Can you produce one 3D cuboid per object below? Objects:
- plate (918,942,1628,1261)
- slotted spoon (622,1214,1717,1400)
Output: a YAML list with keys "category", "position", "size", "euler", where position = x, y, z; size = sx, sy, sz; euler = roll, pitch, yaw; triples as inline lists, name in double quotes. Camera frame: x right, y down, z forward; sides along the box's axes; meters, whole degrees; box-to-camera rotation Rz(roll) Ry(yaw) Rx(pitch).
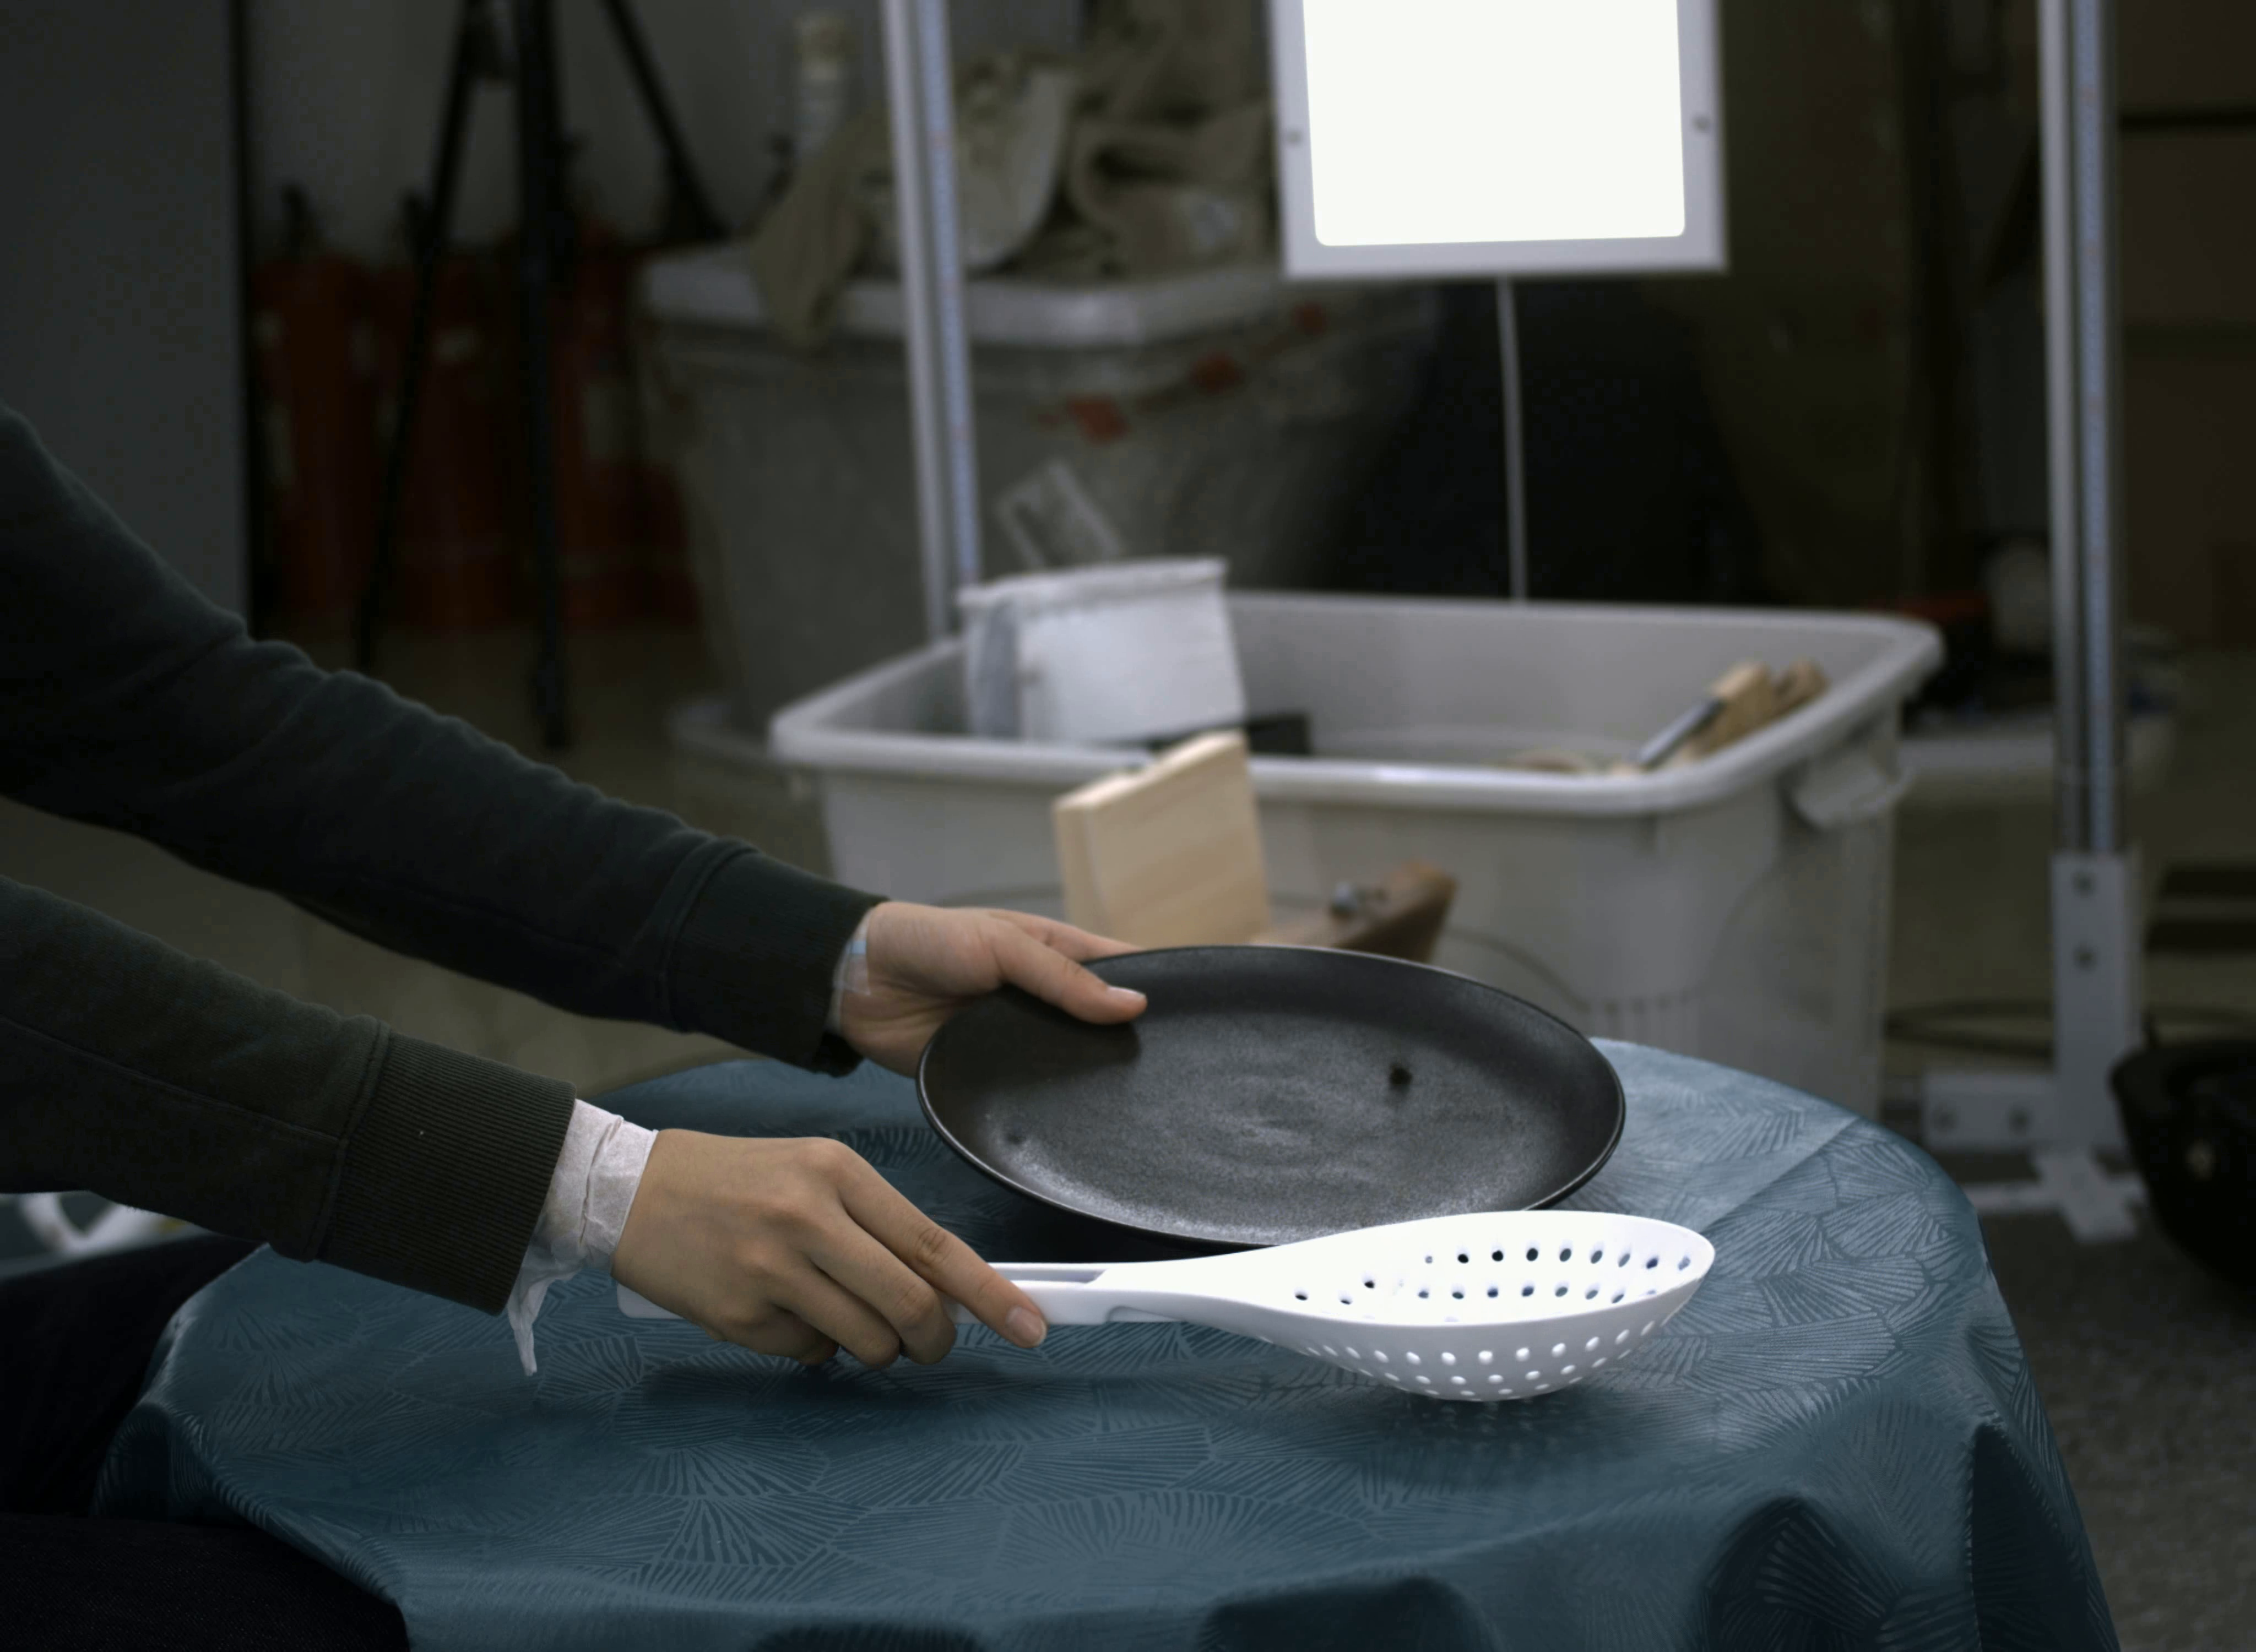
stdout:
- category: "plate"
  position: [0.049, 0.098, 1.879]
  size: [0.243, 0.023, 0.244]
  euler: [0, 23, -2]
- category: "slotted spoon"
  position: [0.008, 0.143, 1.701]
  size: [0.354, 0.046, 0.134]
  euler: [3, 10, 19]
